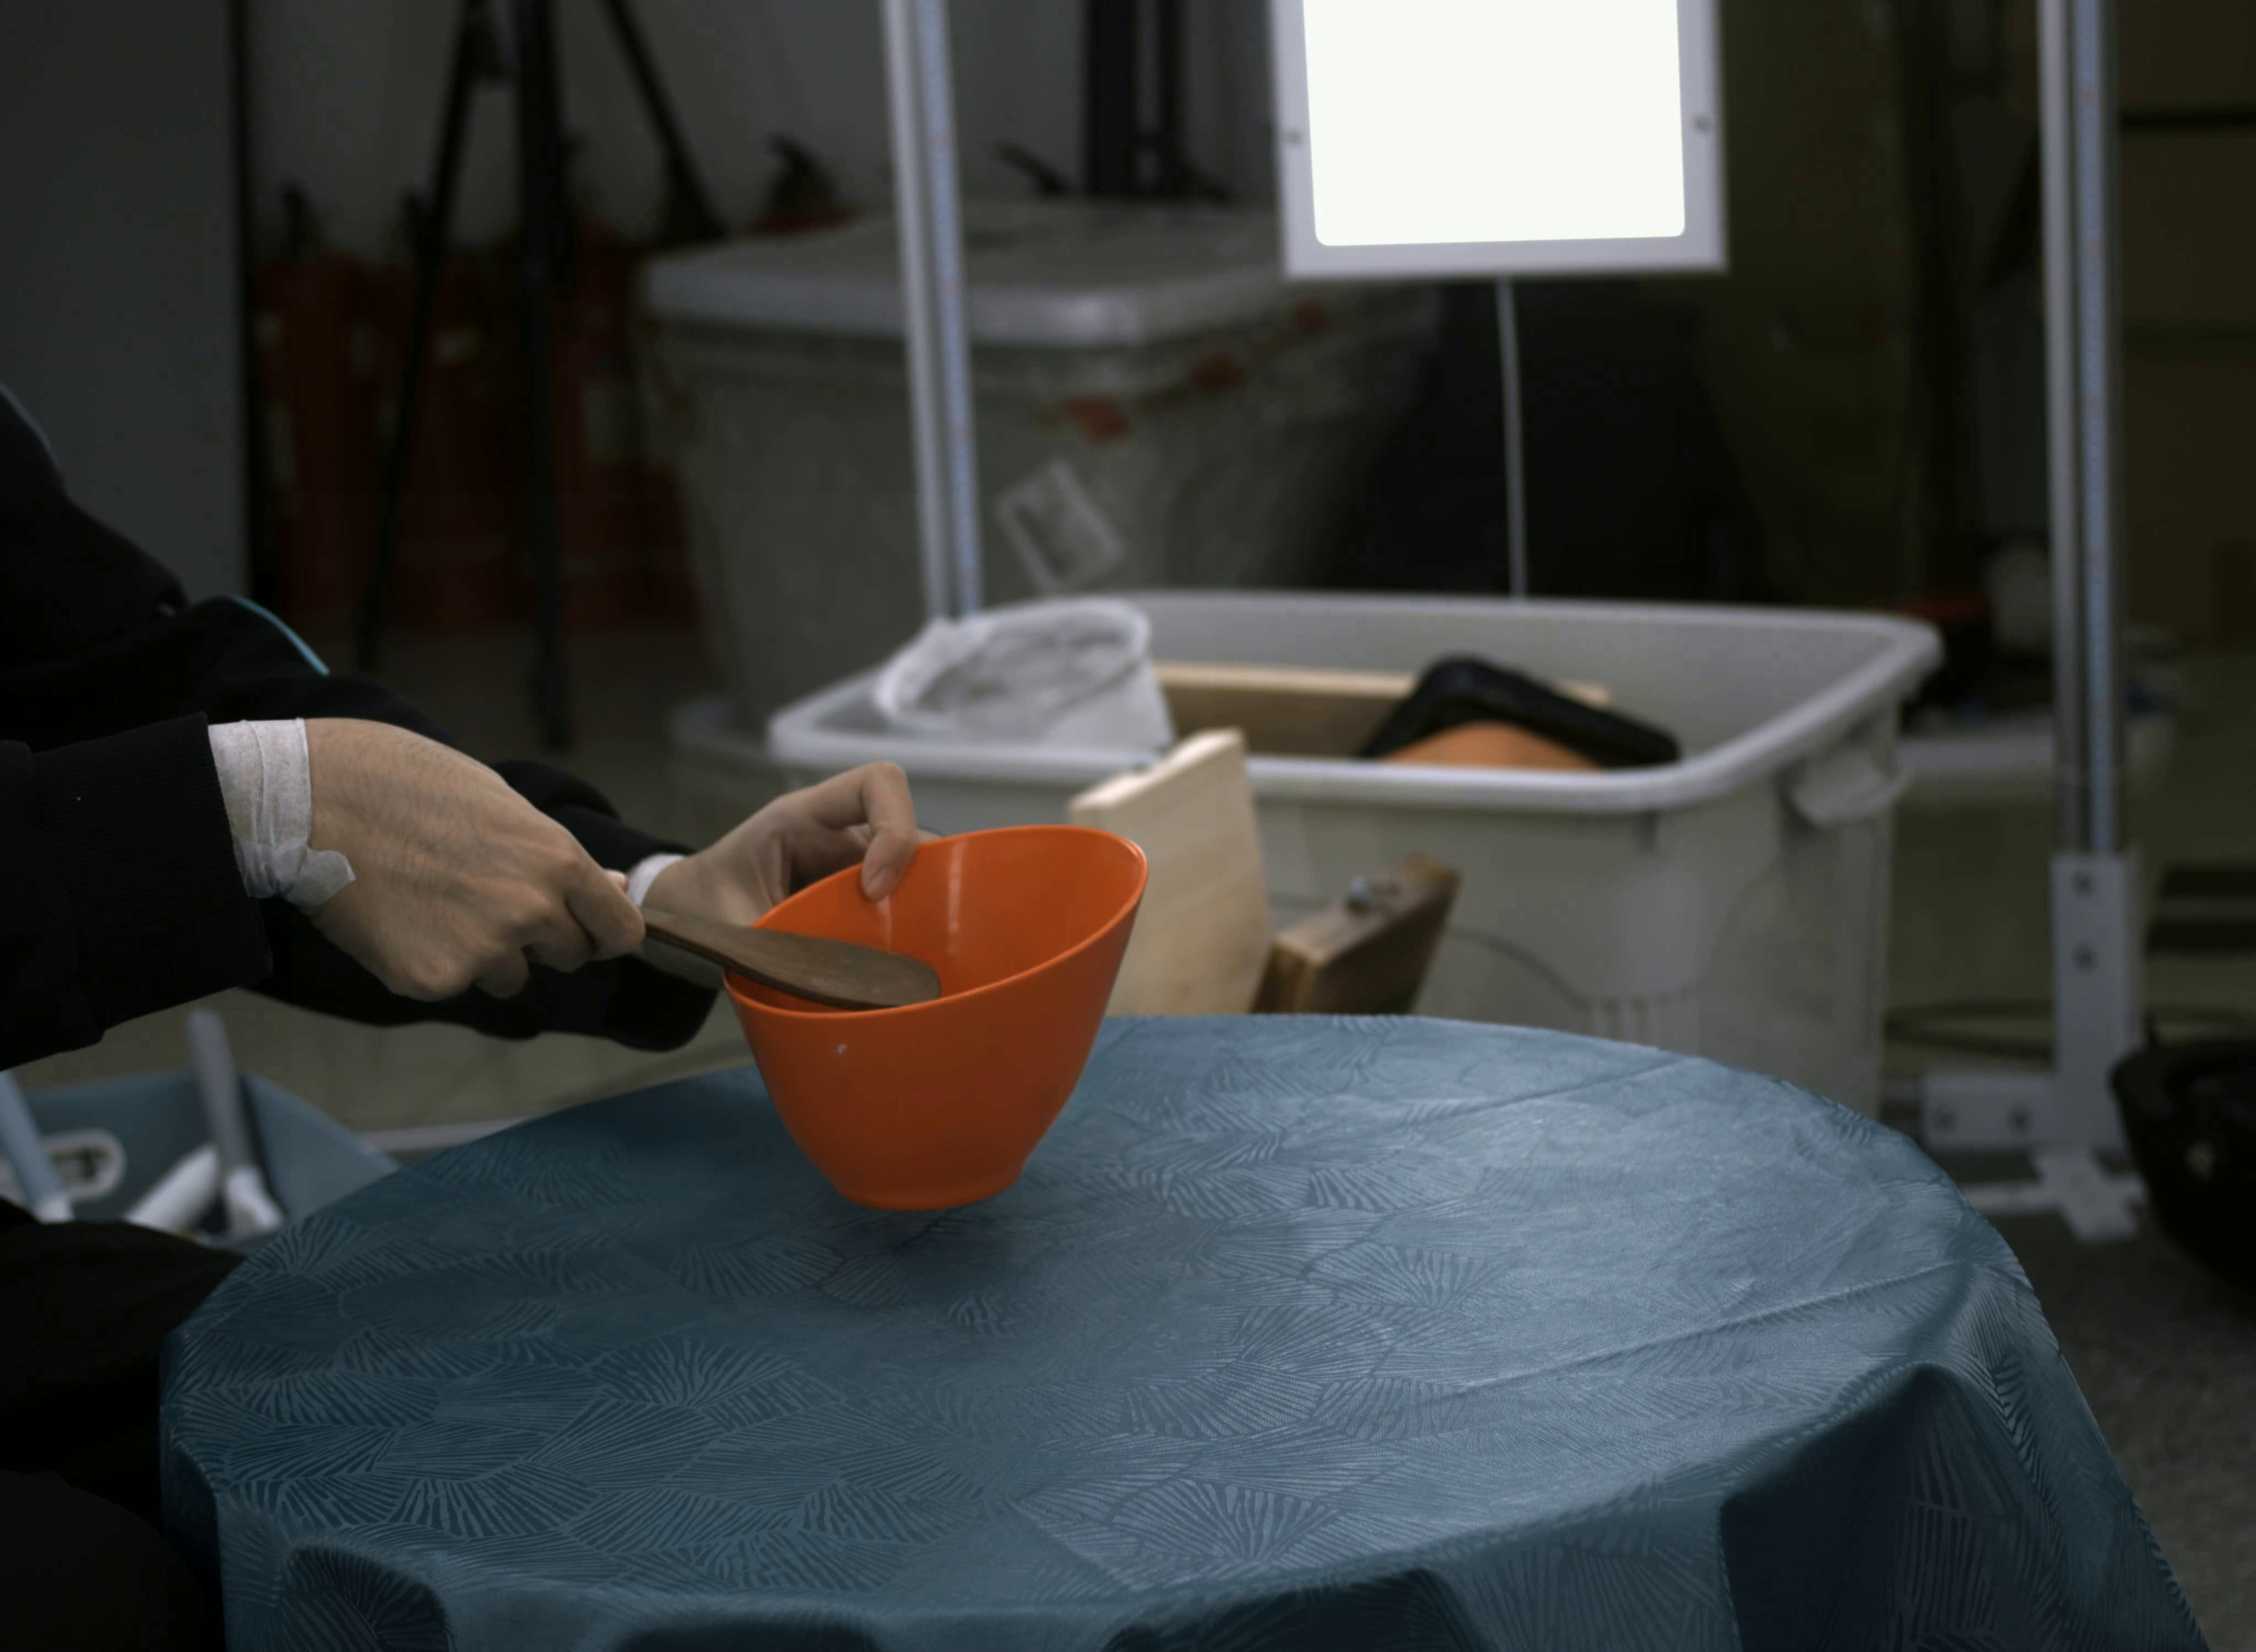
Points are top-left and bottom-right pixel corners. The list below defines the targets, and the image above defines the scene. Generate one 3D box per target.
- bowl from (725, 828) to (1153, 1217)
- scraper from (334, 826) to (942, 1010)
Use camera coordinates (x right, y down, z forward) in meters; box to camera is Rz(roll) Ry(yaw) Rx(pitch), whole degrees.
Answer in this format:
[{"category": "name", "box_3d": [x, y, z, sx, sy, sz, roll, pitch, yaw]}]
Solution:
[{"category": "bowl", "box_3d": [-0.060, 0.071, 1.870, 0.148, 0.105, 0.148, -6, 19, 1]}, {"category": "scraper", "box_3d": [-0.165, 0.031, 1.858, 0.210, 0.011, 0.075, 15, 11, -3]}]
